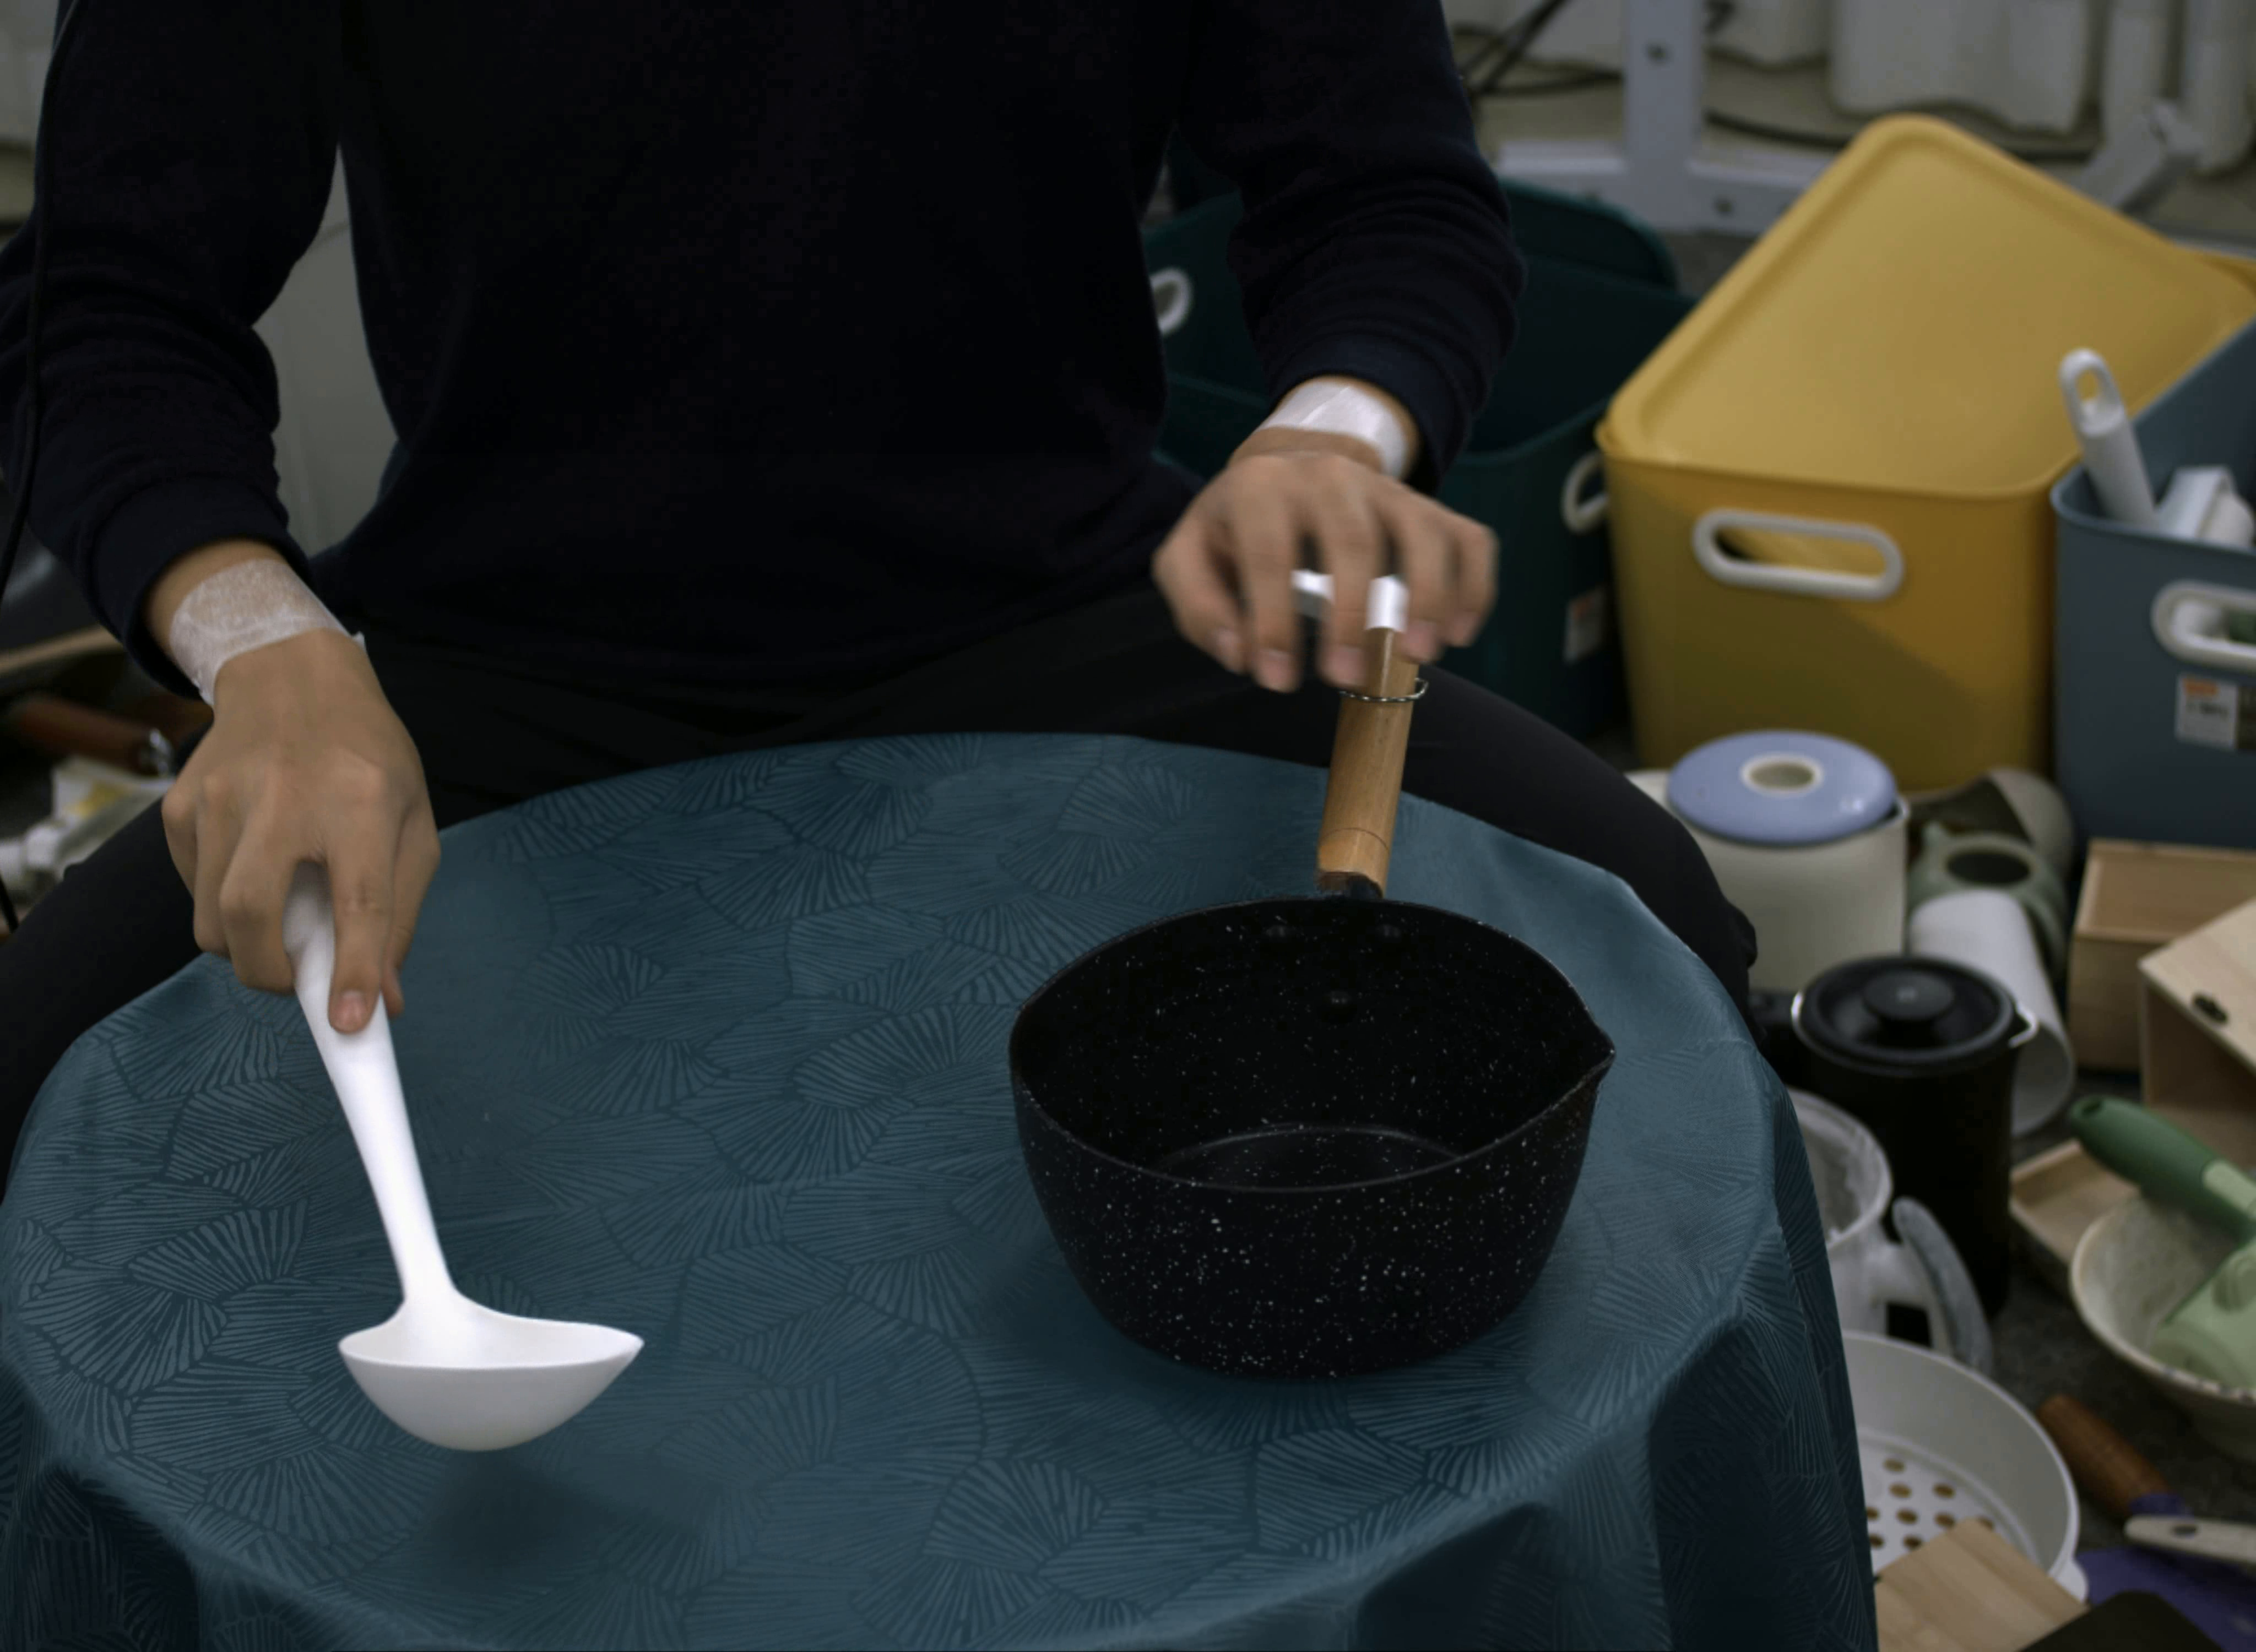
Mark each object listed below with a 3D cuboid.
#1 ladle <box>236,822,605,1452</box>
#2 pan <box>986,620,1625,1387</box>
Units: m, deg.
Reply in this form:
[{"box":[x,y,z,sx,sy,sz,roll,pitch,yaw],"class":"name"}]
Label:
[{"box":[-0.236,0.088,1.762,0.090,0.069,0.297,-7,42,-17],"class":"ladle"},{"box":[0.067,0.055,1.868,0.206,0.107,0.349,0,29,8],"class":"pan"}]
